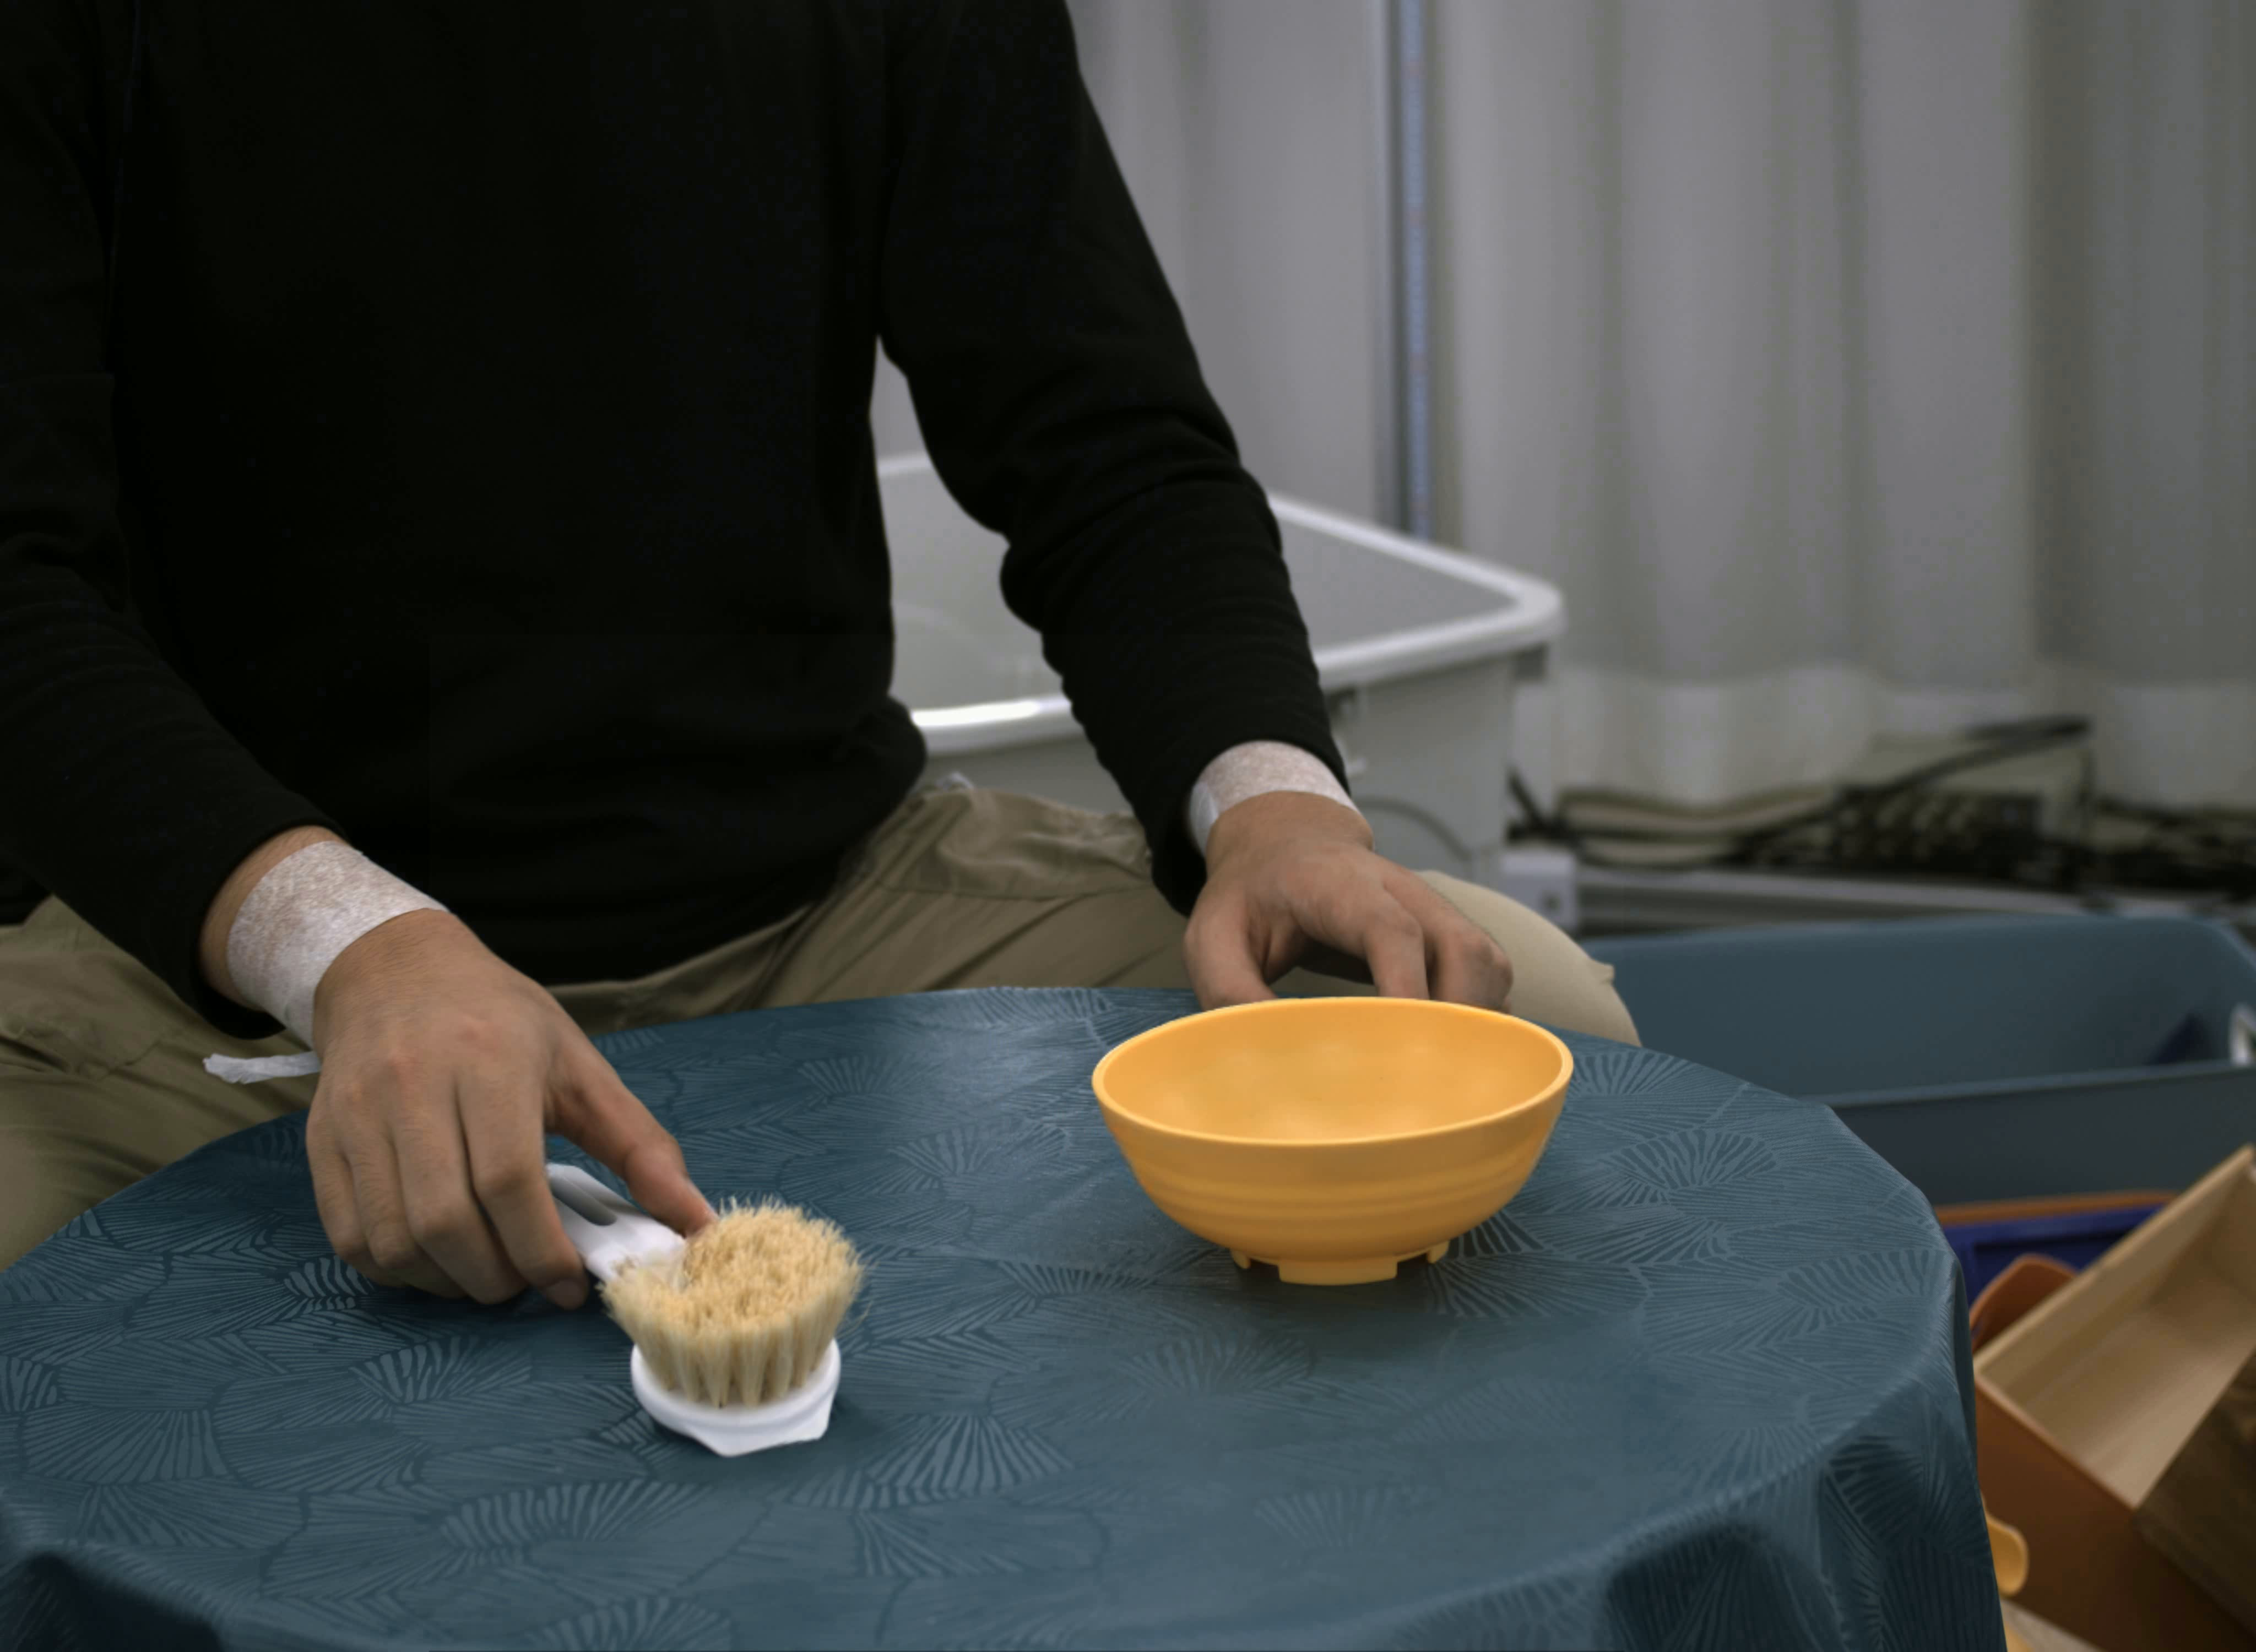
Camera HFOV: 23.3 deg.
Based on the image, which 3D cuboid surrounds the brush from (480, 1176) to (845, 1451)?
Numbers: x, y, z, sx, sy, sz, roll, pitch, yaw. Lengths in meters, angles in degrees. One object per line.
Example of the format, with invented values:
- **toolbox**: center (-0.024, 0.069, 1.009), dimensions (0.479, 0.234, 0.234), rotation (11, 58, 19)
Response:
- **brush**: center (-0.150, 0.120, 1.622), dimensions (0.068, 0.056, 0.268), rotation (-3, 13, -20)

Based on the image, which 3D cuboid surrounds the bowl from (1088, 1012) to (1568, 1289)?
- **bowl**: center (0.060, 0.102, 1.643), dimensions (0.145, 0.060, 0.146), rotation (-2, 12, 0)
